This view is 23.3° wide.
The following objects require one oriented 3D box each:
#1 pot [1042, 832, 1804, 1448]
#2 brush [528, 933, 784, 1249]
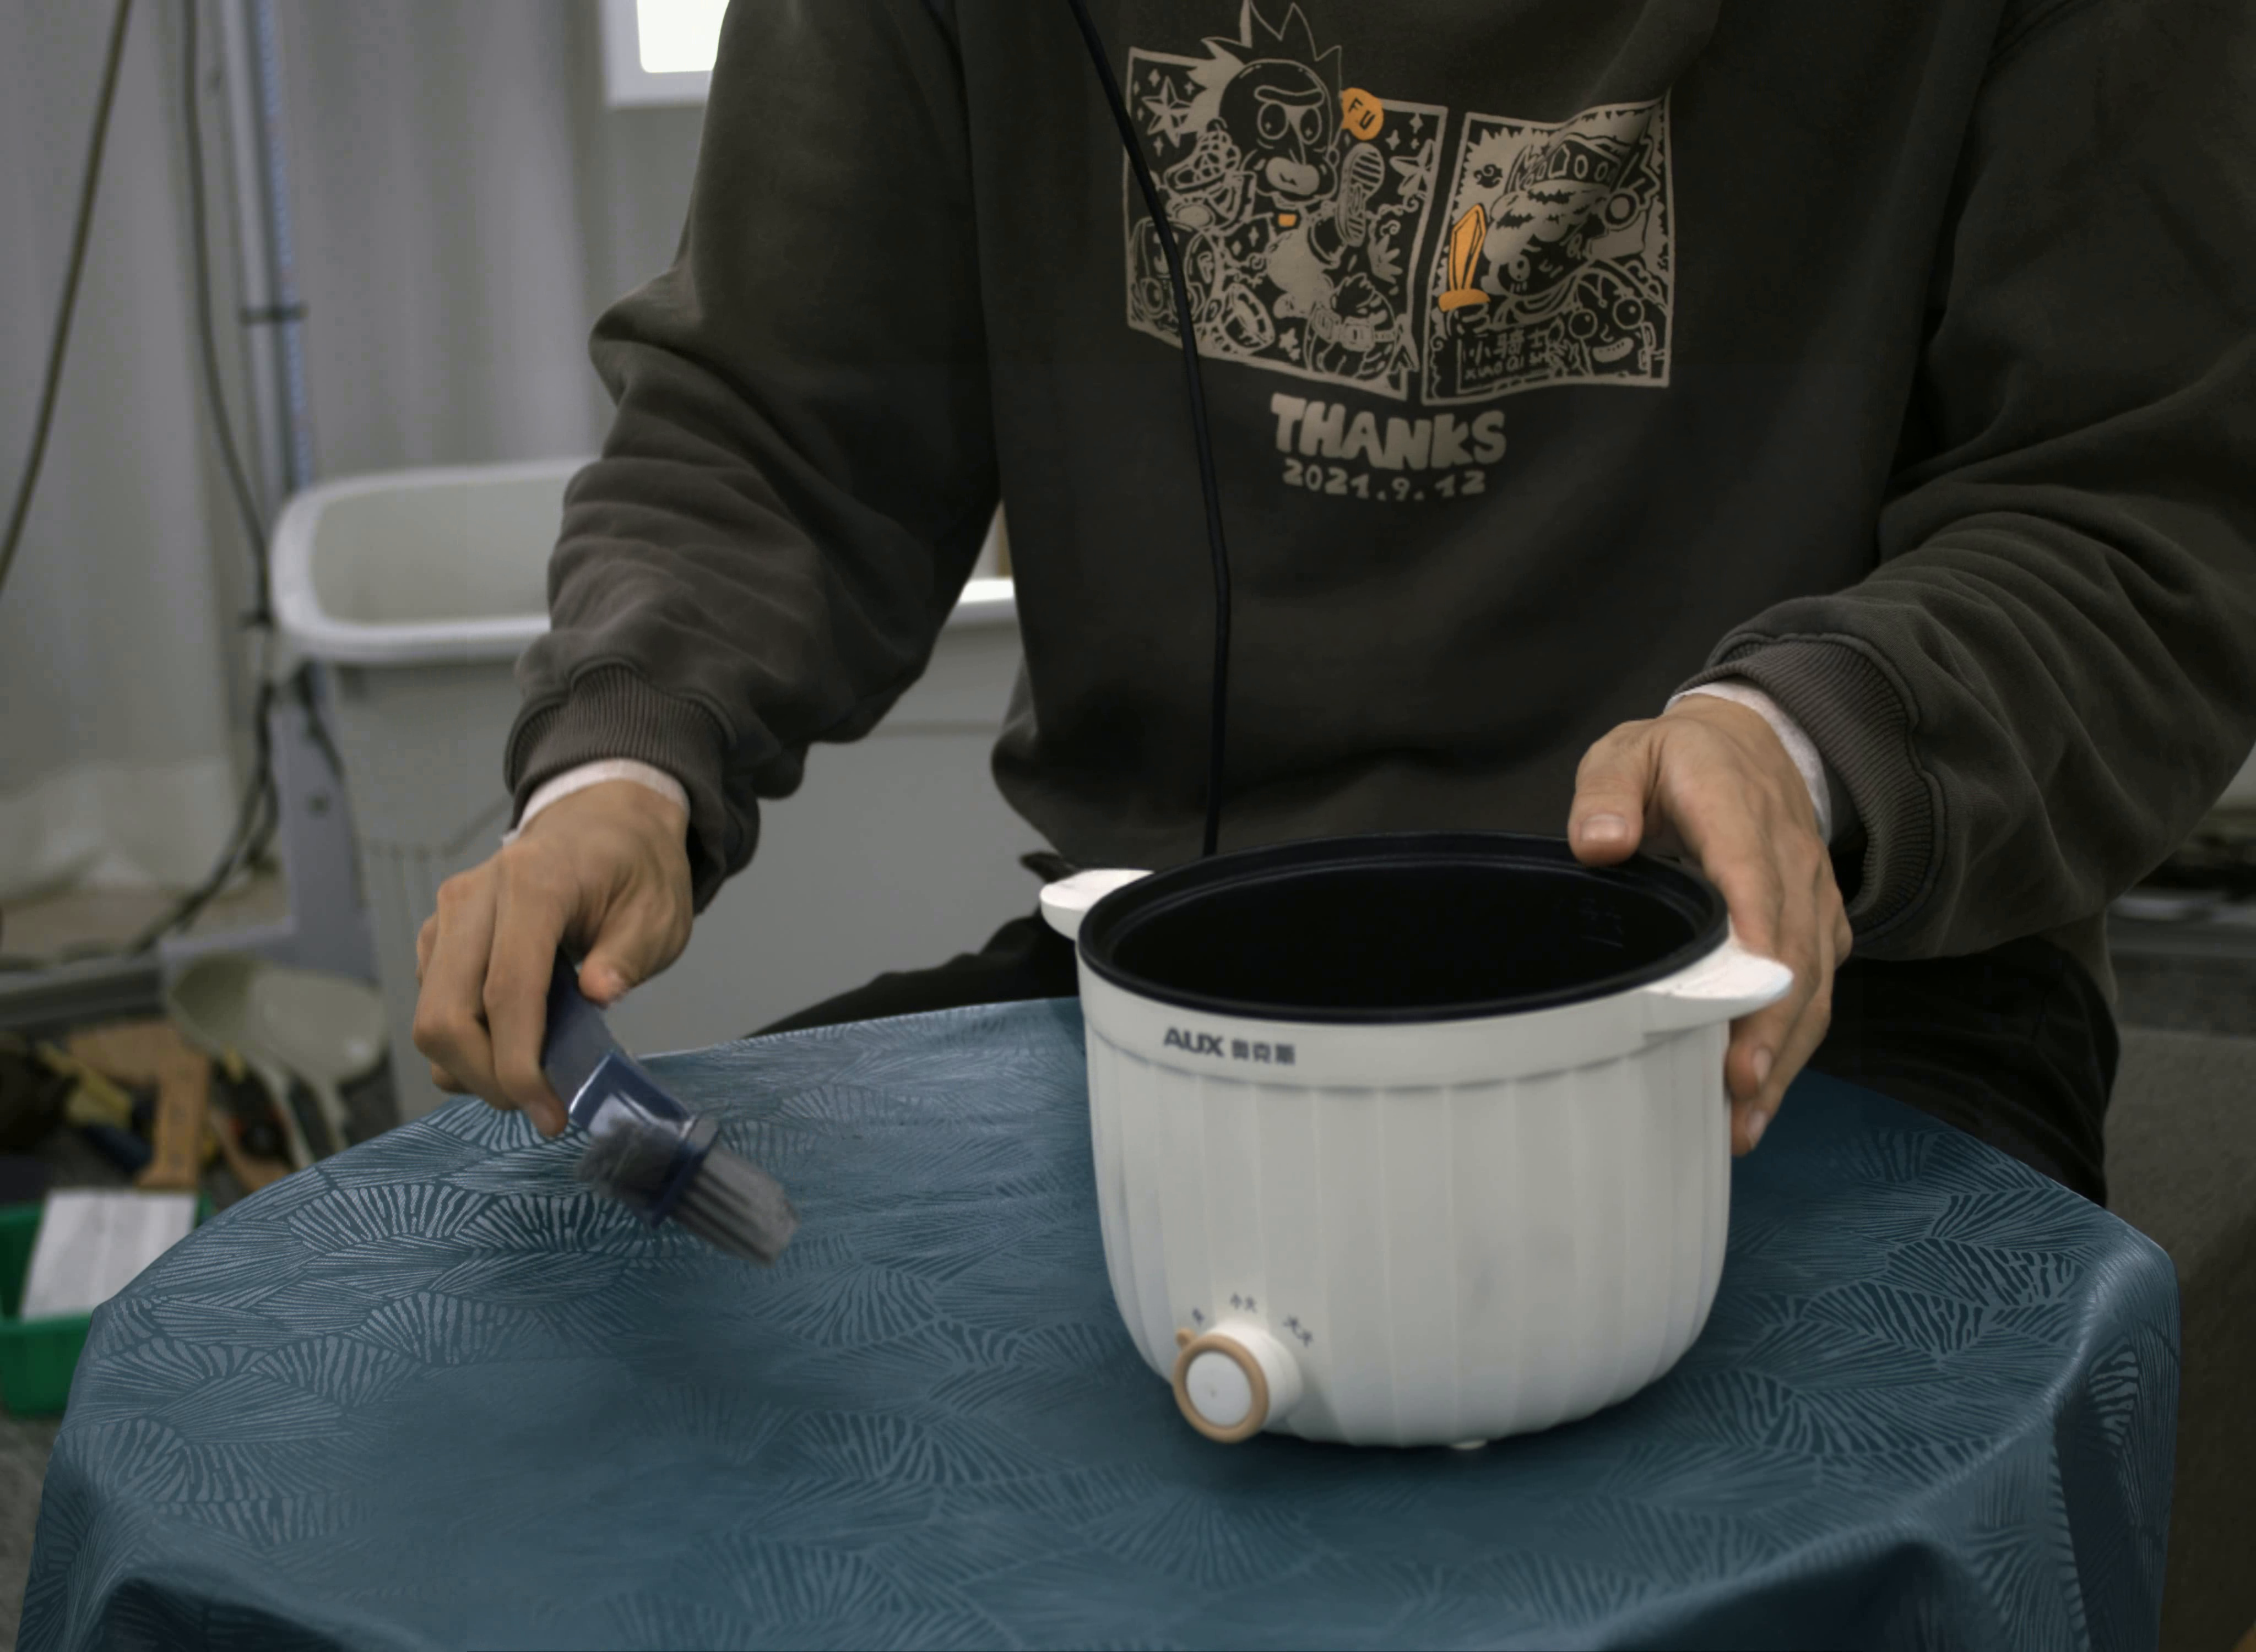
[{"bbox_3d":[0.078,0.091,1.530,0.241,0.142,0.190,6,13,34],"label":"pot"},{"bbox_3d":[-0.160,0.069,1.622,0.095,0.033,0.275,31,2,-25],"label":"brush"}]
